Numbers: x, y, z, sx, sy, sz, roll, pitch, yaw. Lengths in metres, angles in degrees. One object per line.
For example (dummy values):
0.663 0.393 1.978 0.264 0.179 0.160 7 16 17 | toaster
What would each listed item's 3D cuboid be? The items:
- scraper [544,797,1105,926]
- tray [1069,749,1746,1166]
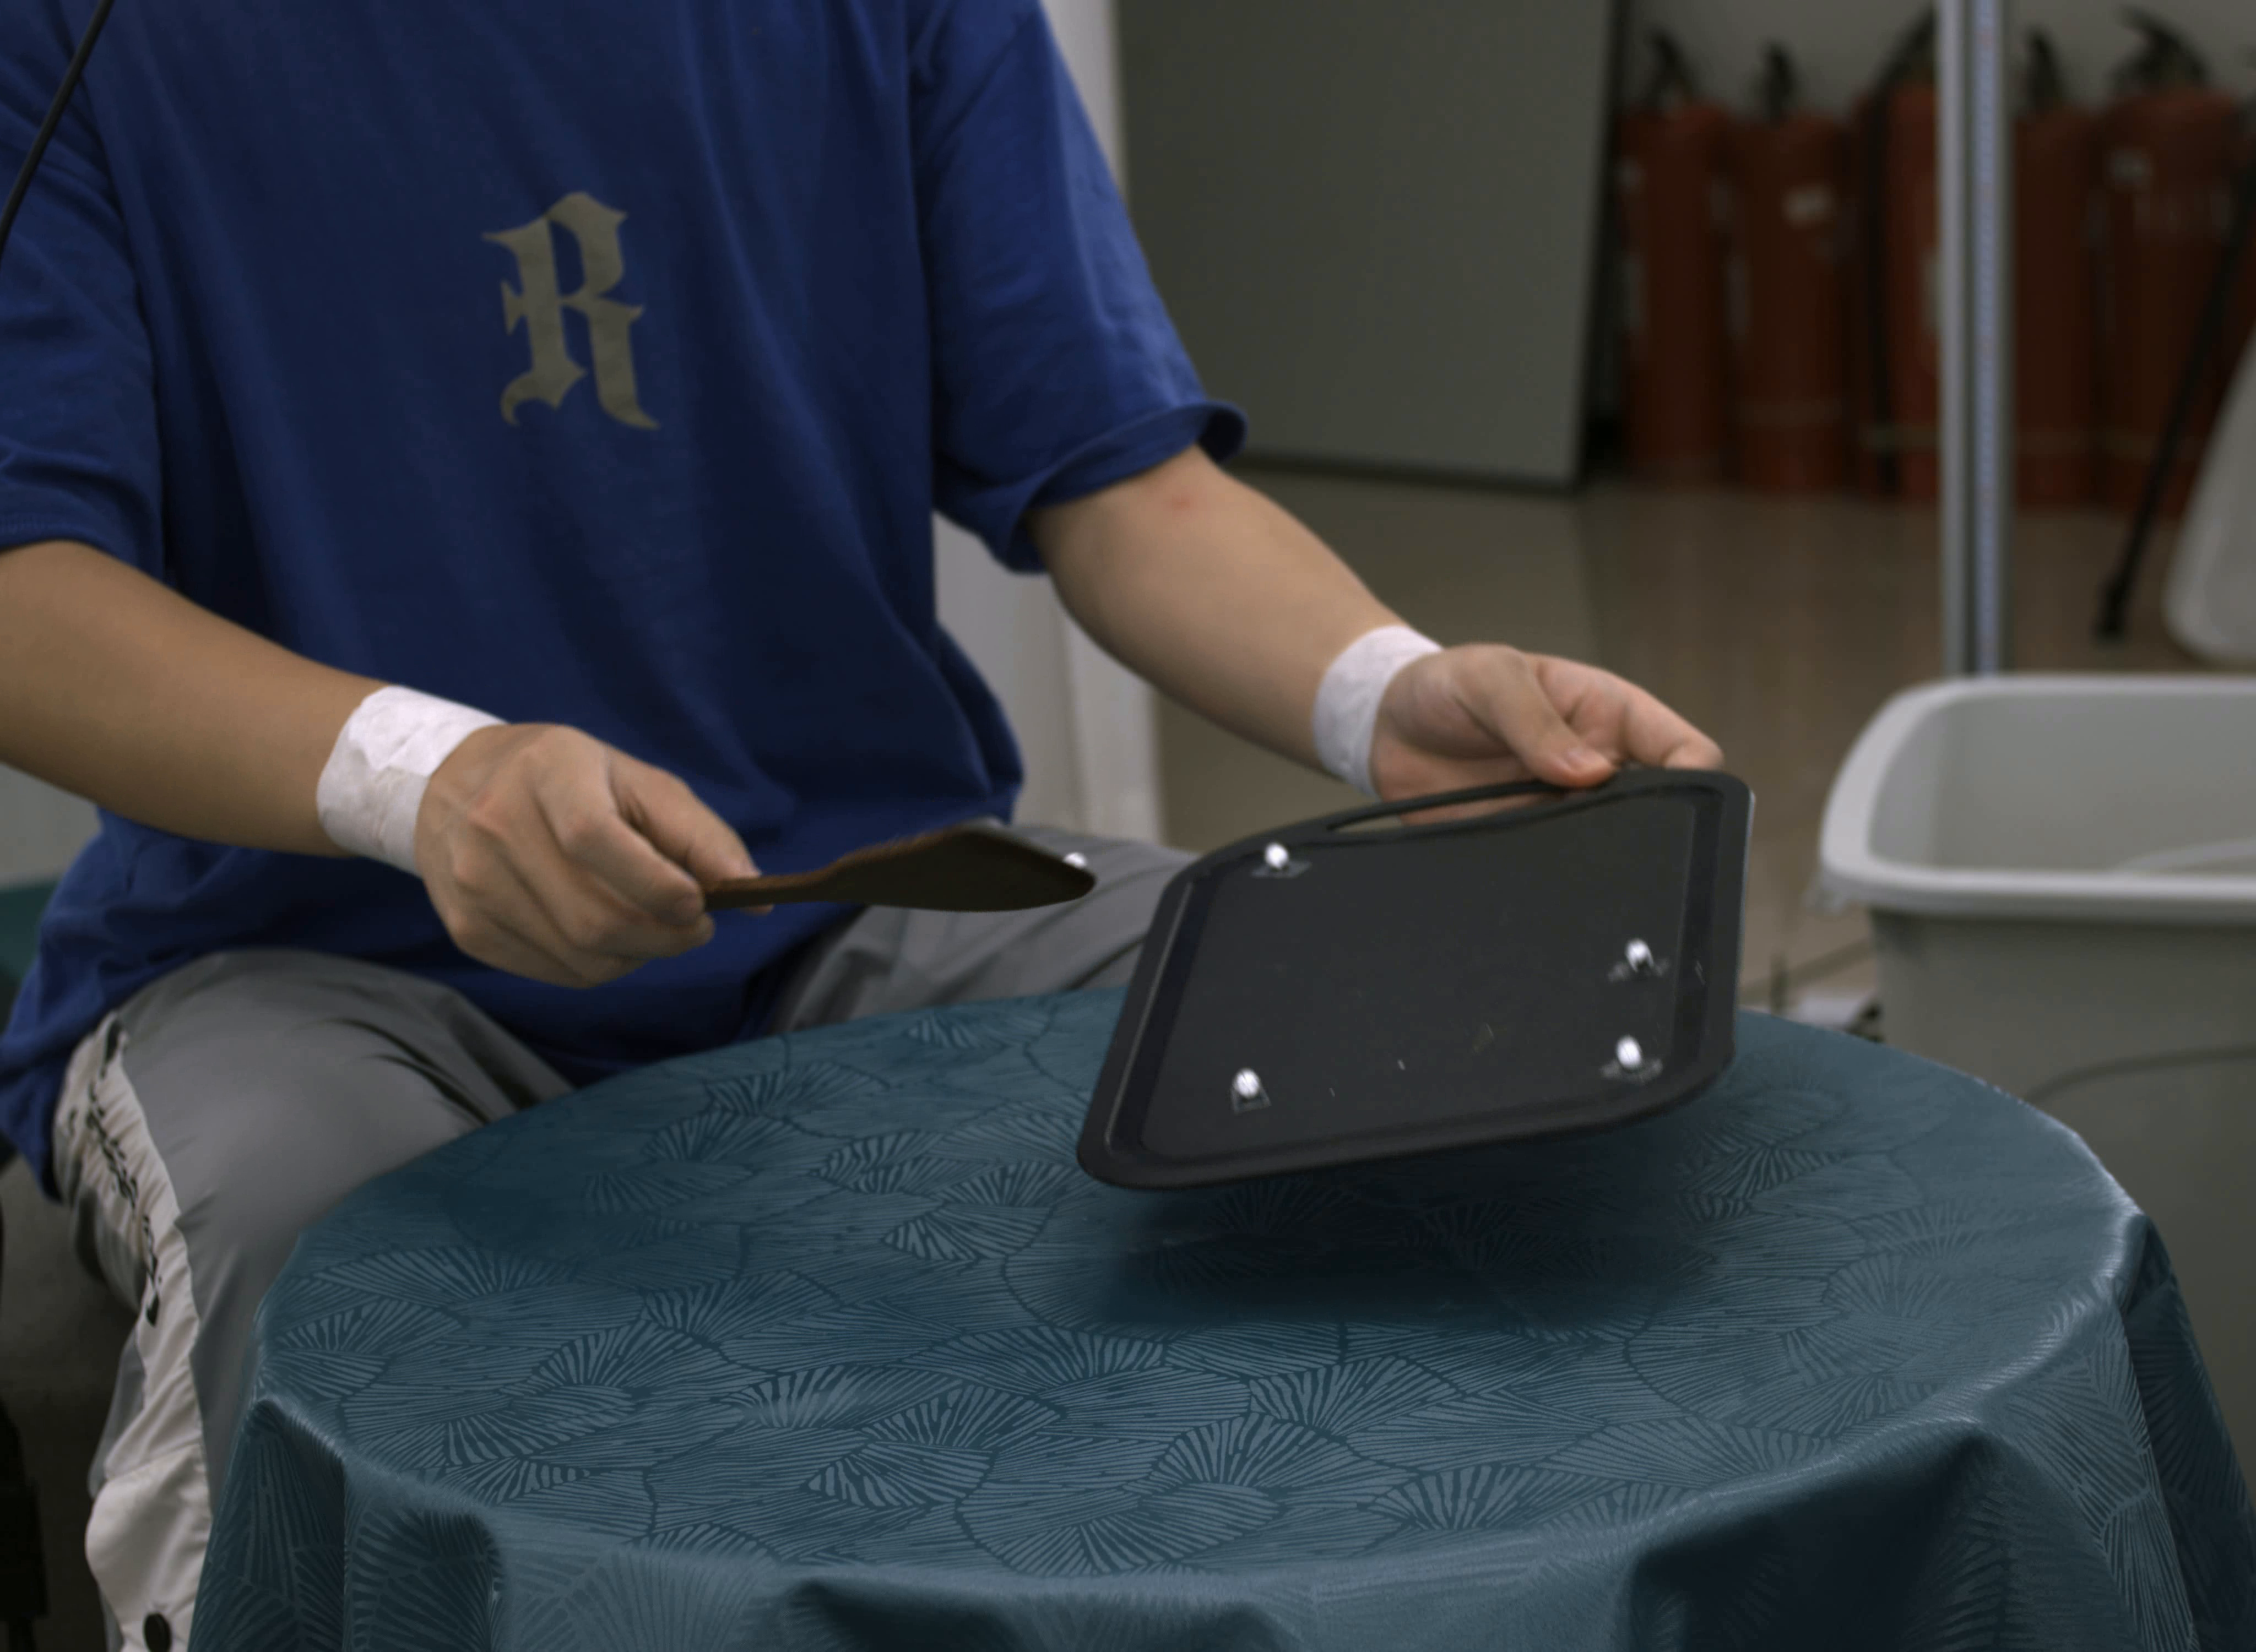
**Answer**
-0.105 0.017 1.733 0.213 0.011 0.074 -7 -25 38 | scraper
0.097 0.036 1.768 0.210 0.010 0.324 -11 18 13 | tray
